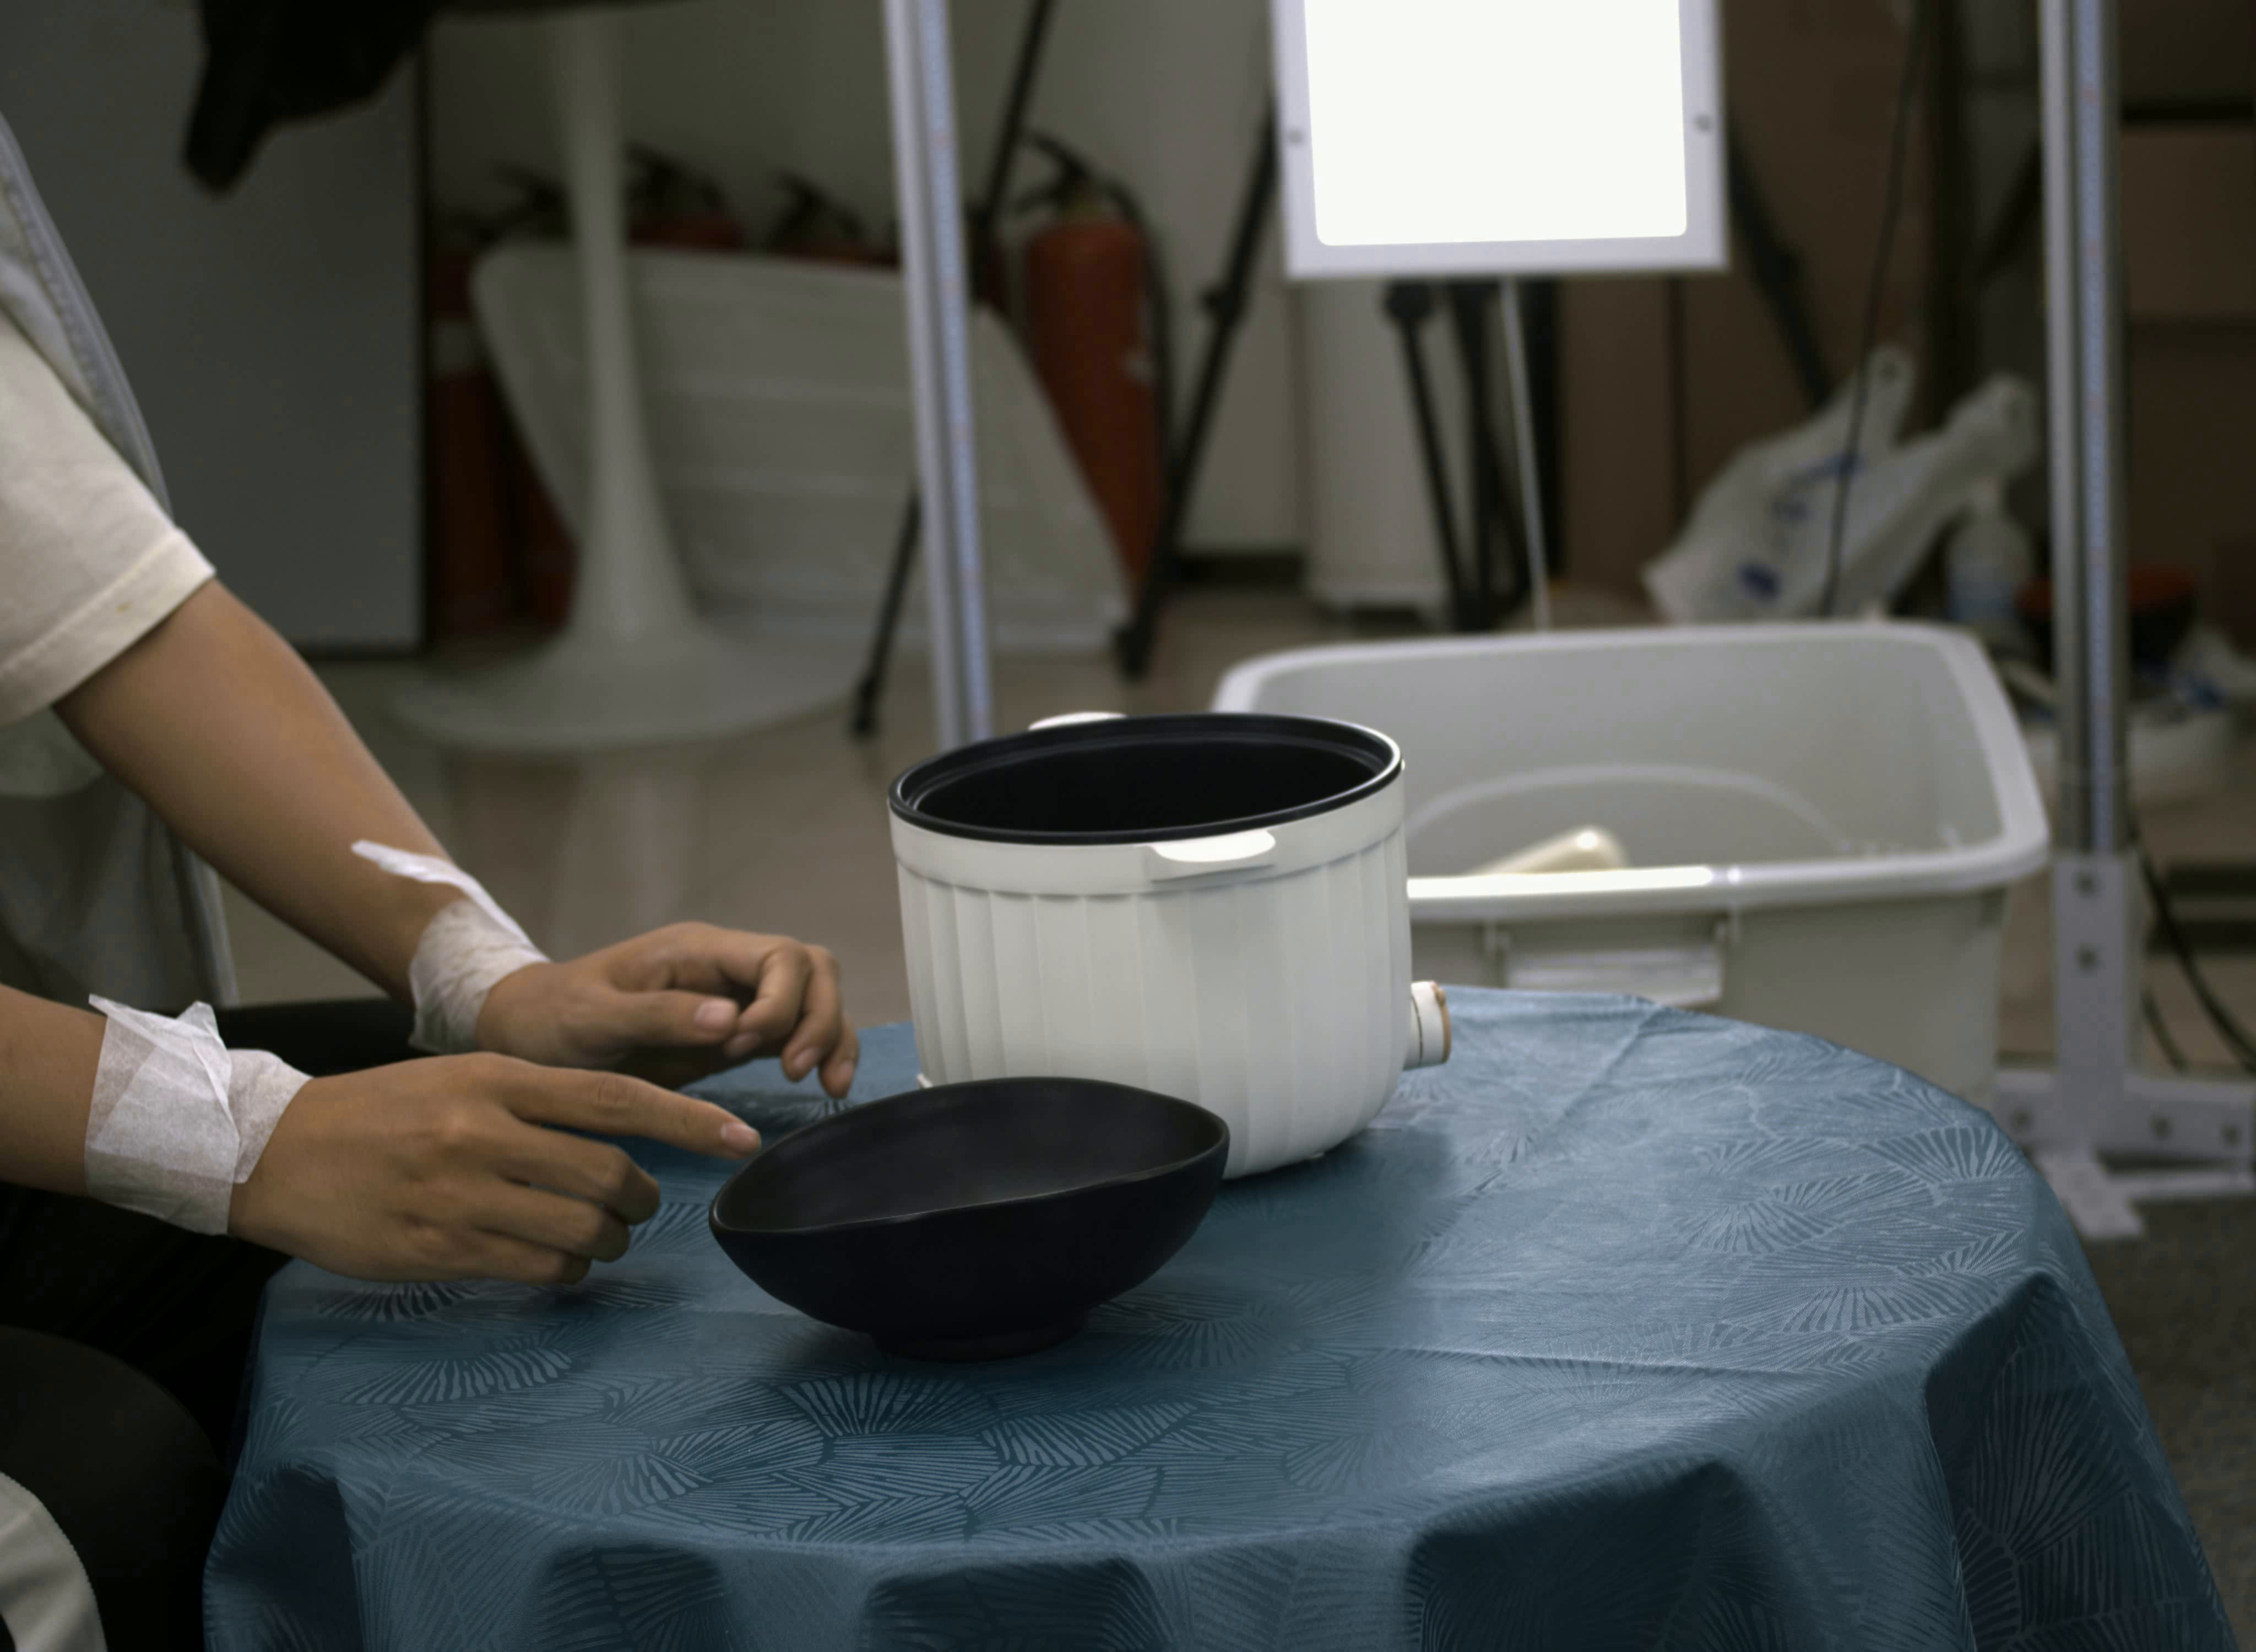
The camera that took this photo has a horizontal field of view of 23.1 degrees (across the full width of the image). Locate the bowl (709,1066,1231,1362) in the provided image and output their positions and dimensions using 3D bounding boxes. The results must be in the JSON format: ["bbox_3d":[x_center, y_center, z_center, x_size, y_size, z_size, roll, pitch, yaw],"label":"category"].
[{"bbox_3d":[-0.048,0.130,1.761,0.168,0.067,0.138,-9,14,-12],"label":"bowl"}]

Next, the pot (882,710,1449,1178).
[{"bbox_3d":[0.015,0.044,1.939,0.188,0.143,0.242,-11,15,-11],"label":"pot"}]
